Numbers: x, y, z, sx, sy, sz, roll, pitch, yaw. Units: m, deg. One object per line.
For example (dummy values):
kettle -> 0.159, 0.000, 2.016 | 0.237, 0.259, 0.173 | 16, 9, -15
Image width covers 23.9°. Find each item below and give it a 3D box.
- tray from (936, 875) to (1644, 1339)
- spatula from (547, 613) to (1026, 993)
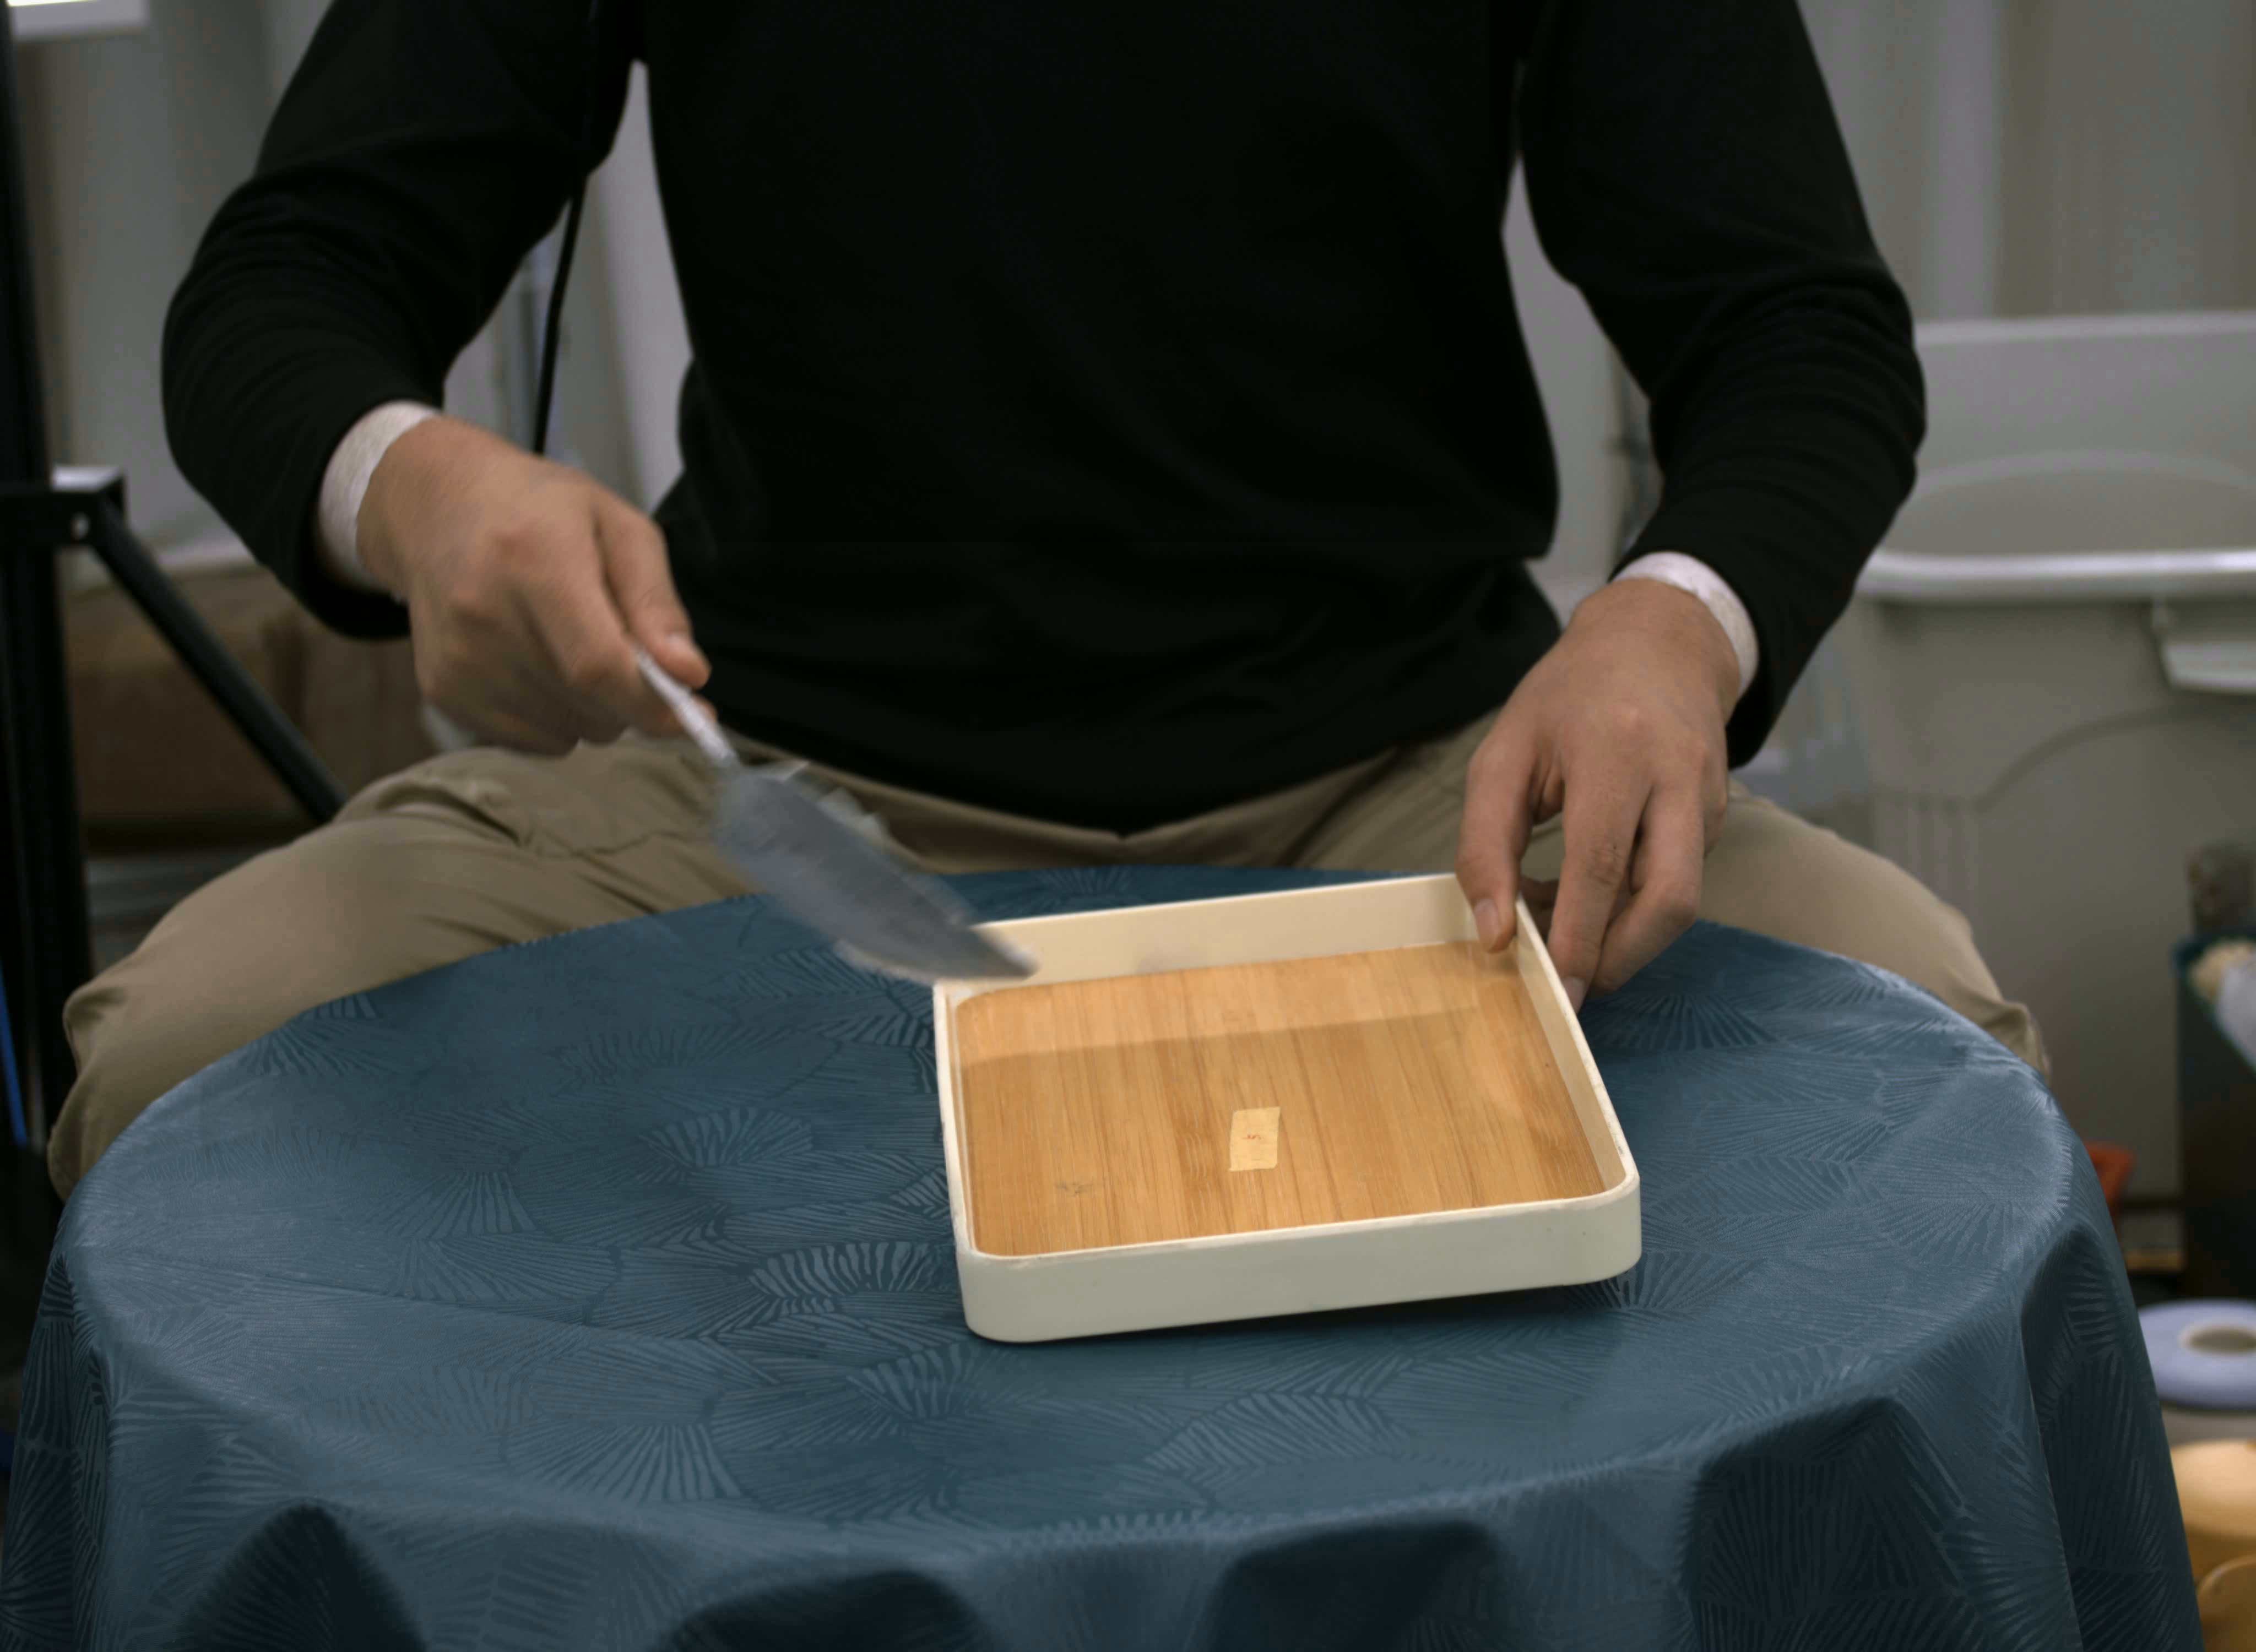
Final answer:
tray -> 0.041, 0.079, 1.577 | 0.190, 0.027, 0.302 | -6, 17, 0
spatula -> -0.121, -0.022, 1.569 | 0.097, 0.045, 0.371 | 38, 4, -25
